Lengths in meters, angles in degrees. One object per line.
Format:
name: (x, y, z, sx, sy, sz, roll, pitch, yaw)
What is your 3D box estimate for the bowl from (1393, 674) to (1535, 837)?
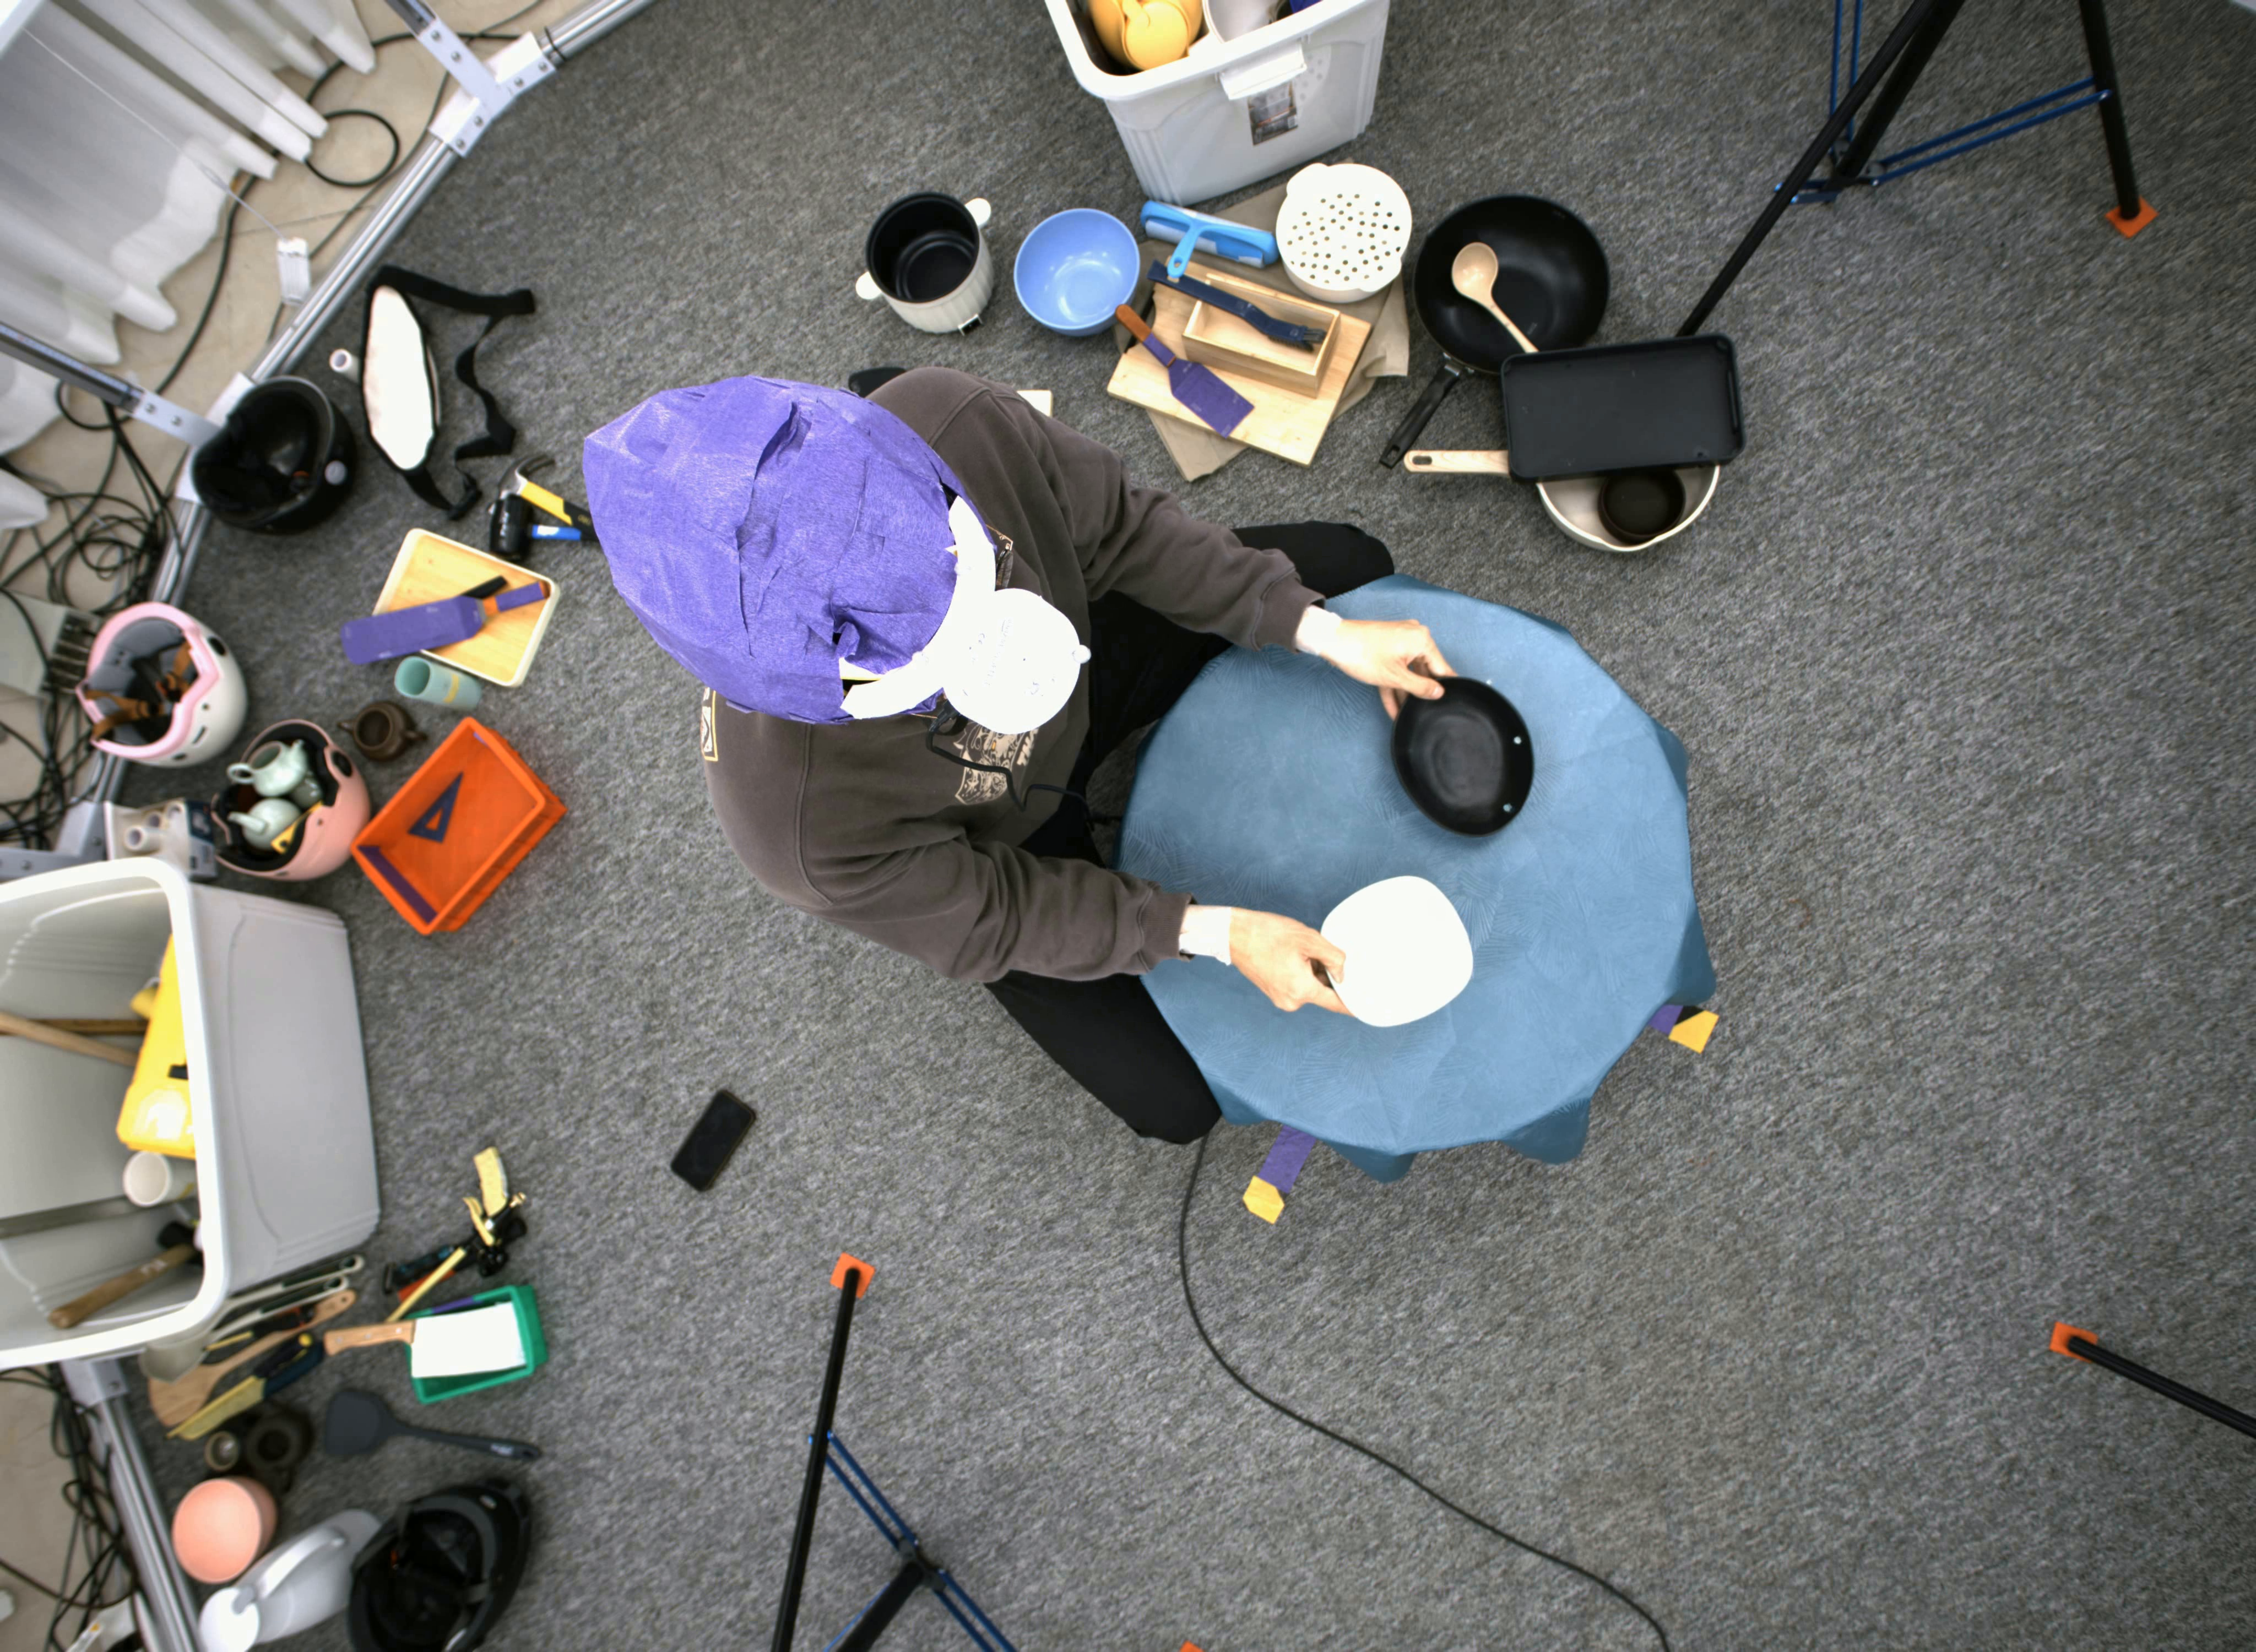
bowl: (0.346, -0.075, 1.415, 0.138, 0.066, 0.170, -25, 91, 11)

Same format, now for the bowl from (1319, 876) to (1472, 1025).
bowl: (0.266, 0.125, 1.370, 0.152, 0.059, 0.149, -4, 78, 15)
